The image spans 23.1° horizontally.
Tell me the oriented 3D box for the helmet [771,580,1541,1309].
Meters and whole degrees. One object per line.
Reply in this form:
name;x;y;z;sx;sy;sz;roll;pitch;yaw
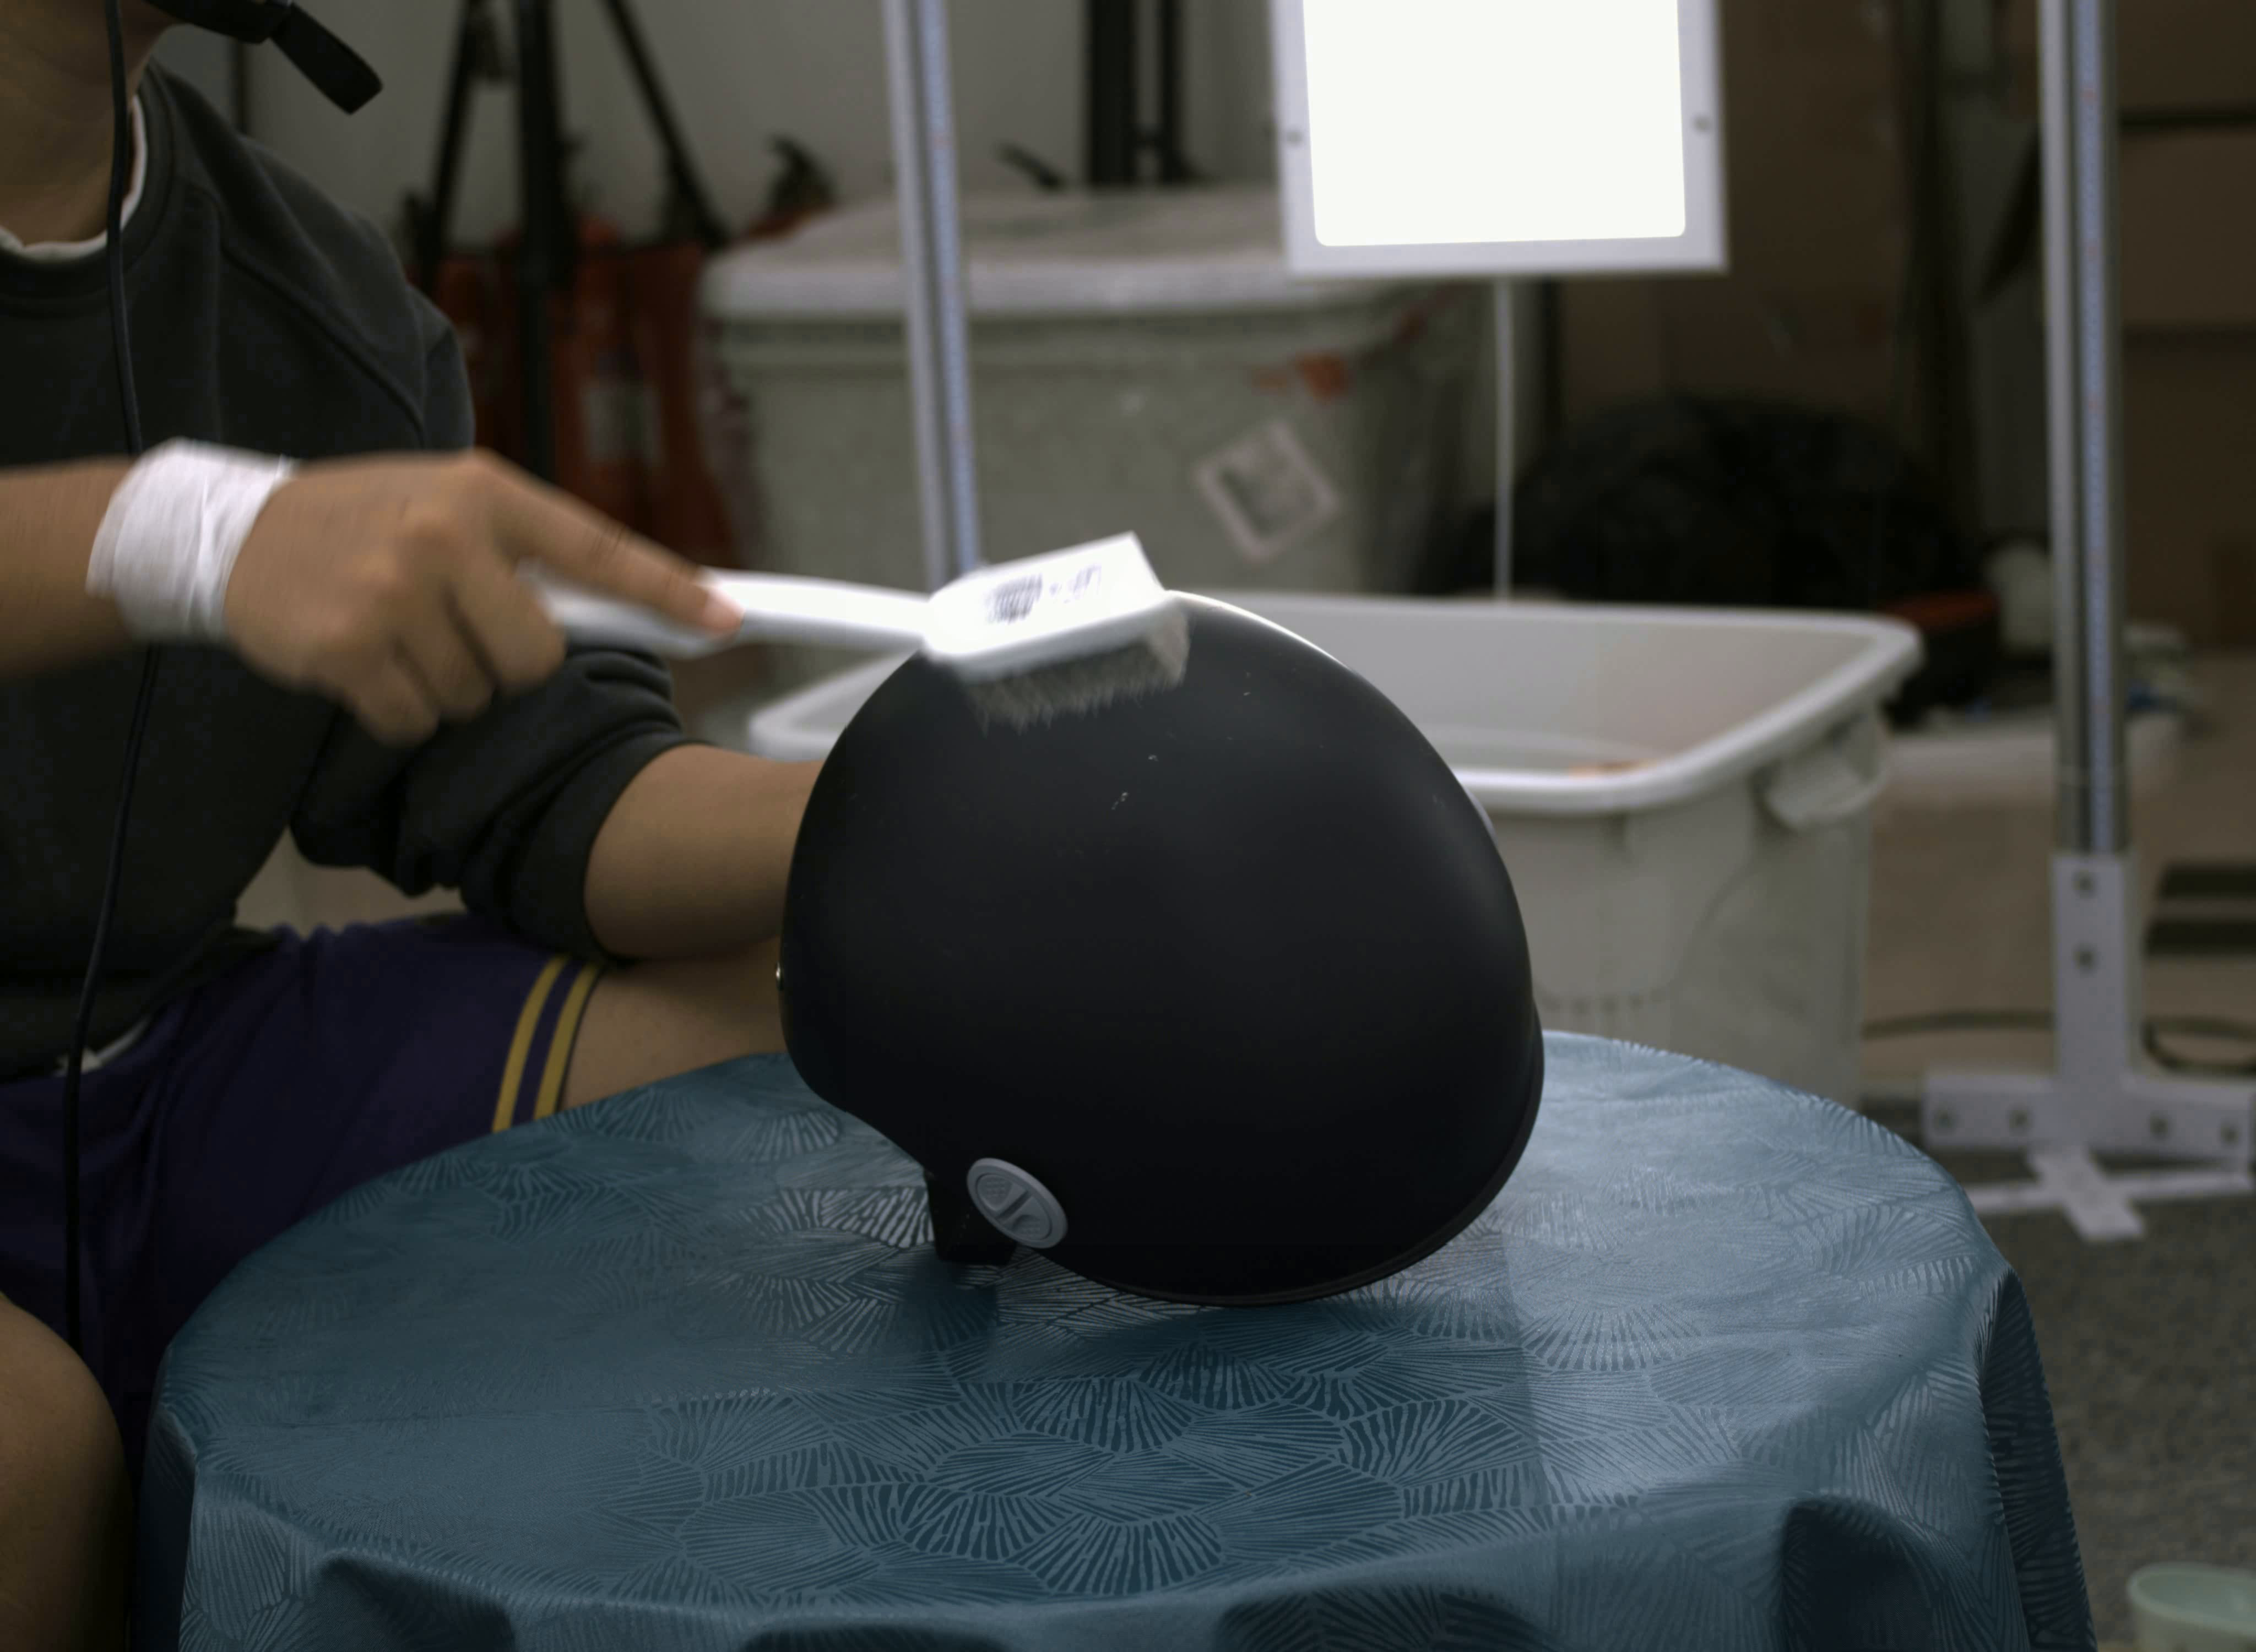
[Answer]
helmet;0.006;0.019;1.805;0.226;0.167;0.277;-37;52;-25

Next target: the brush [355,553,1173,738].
brush;-0.108;-0.047;1.645;0.244;0.050;0.034;-4;47;6
